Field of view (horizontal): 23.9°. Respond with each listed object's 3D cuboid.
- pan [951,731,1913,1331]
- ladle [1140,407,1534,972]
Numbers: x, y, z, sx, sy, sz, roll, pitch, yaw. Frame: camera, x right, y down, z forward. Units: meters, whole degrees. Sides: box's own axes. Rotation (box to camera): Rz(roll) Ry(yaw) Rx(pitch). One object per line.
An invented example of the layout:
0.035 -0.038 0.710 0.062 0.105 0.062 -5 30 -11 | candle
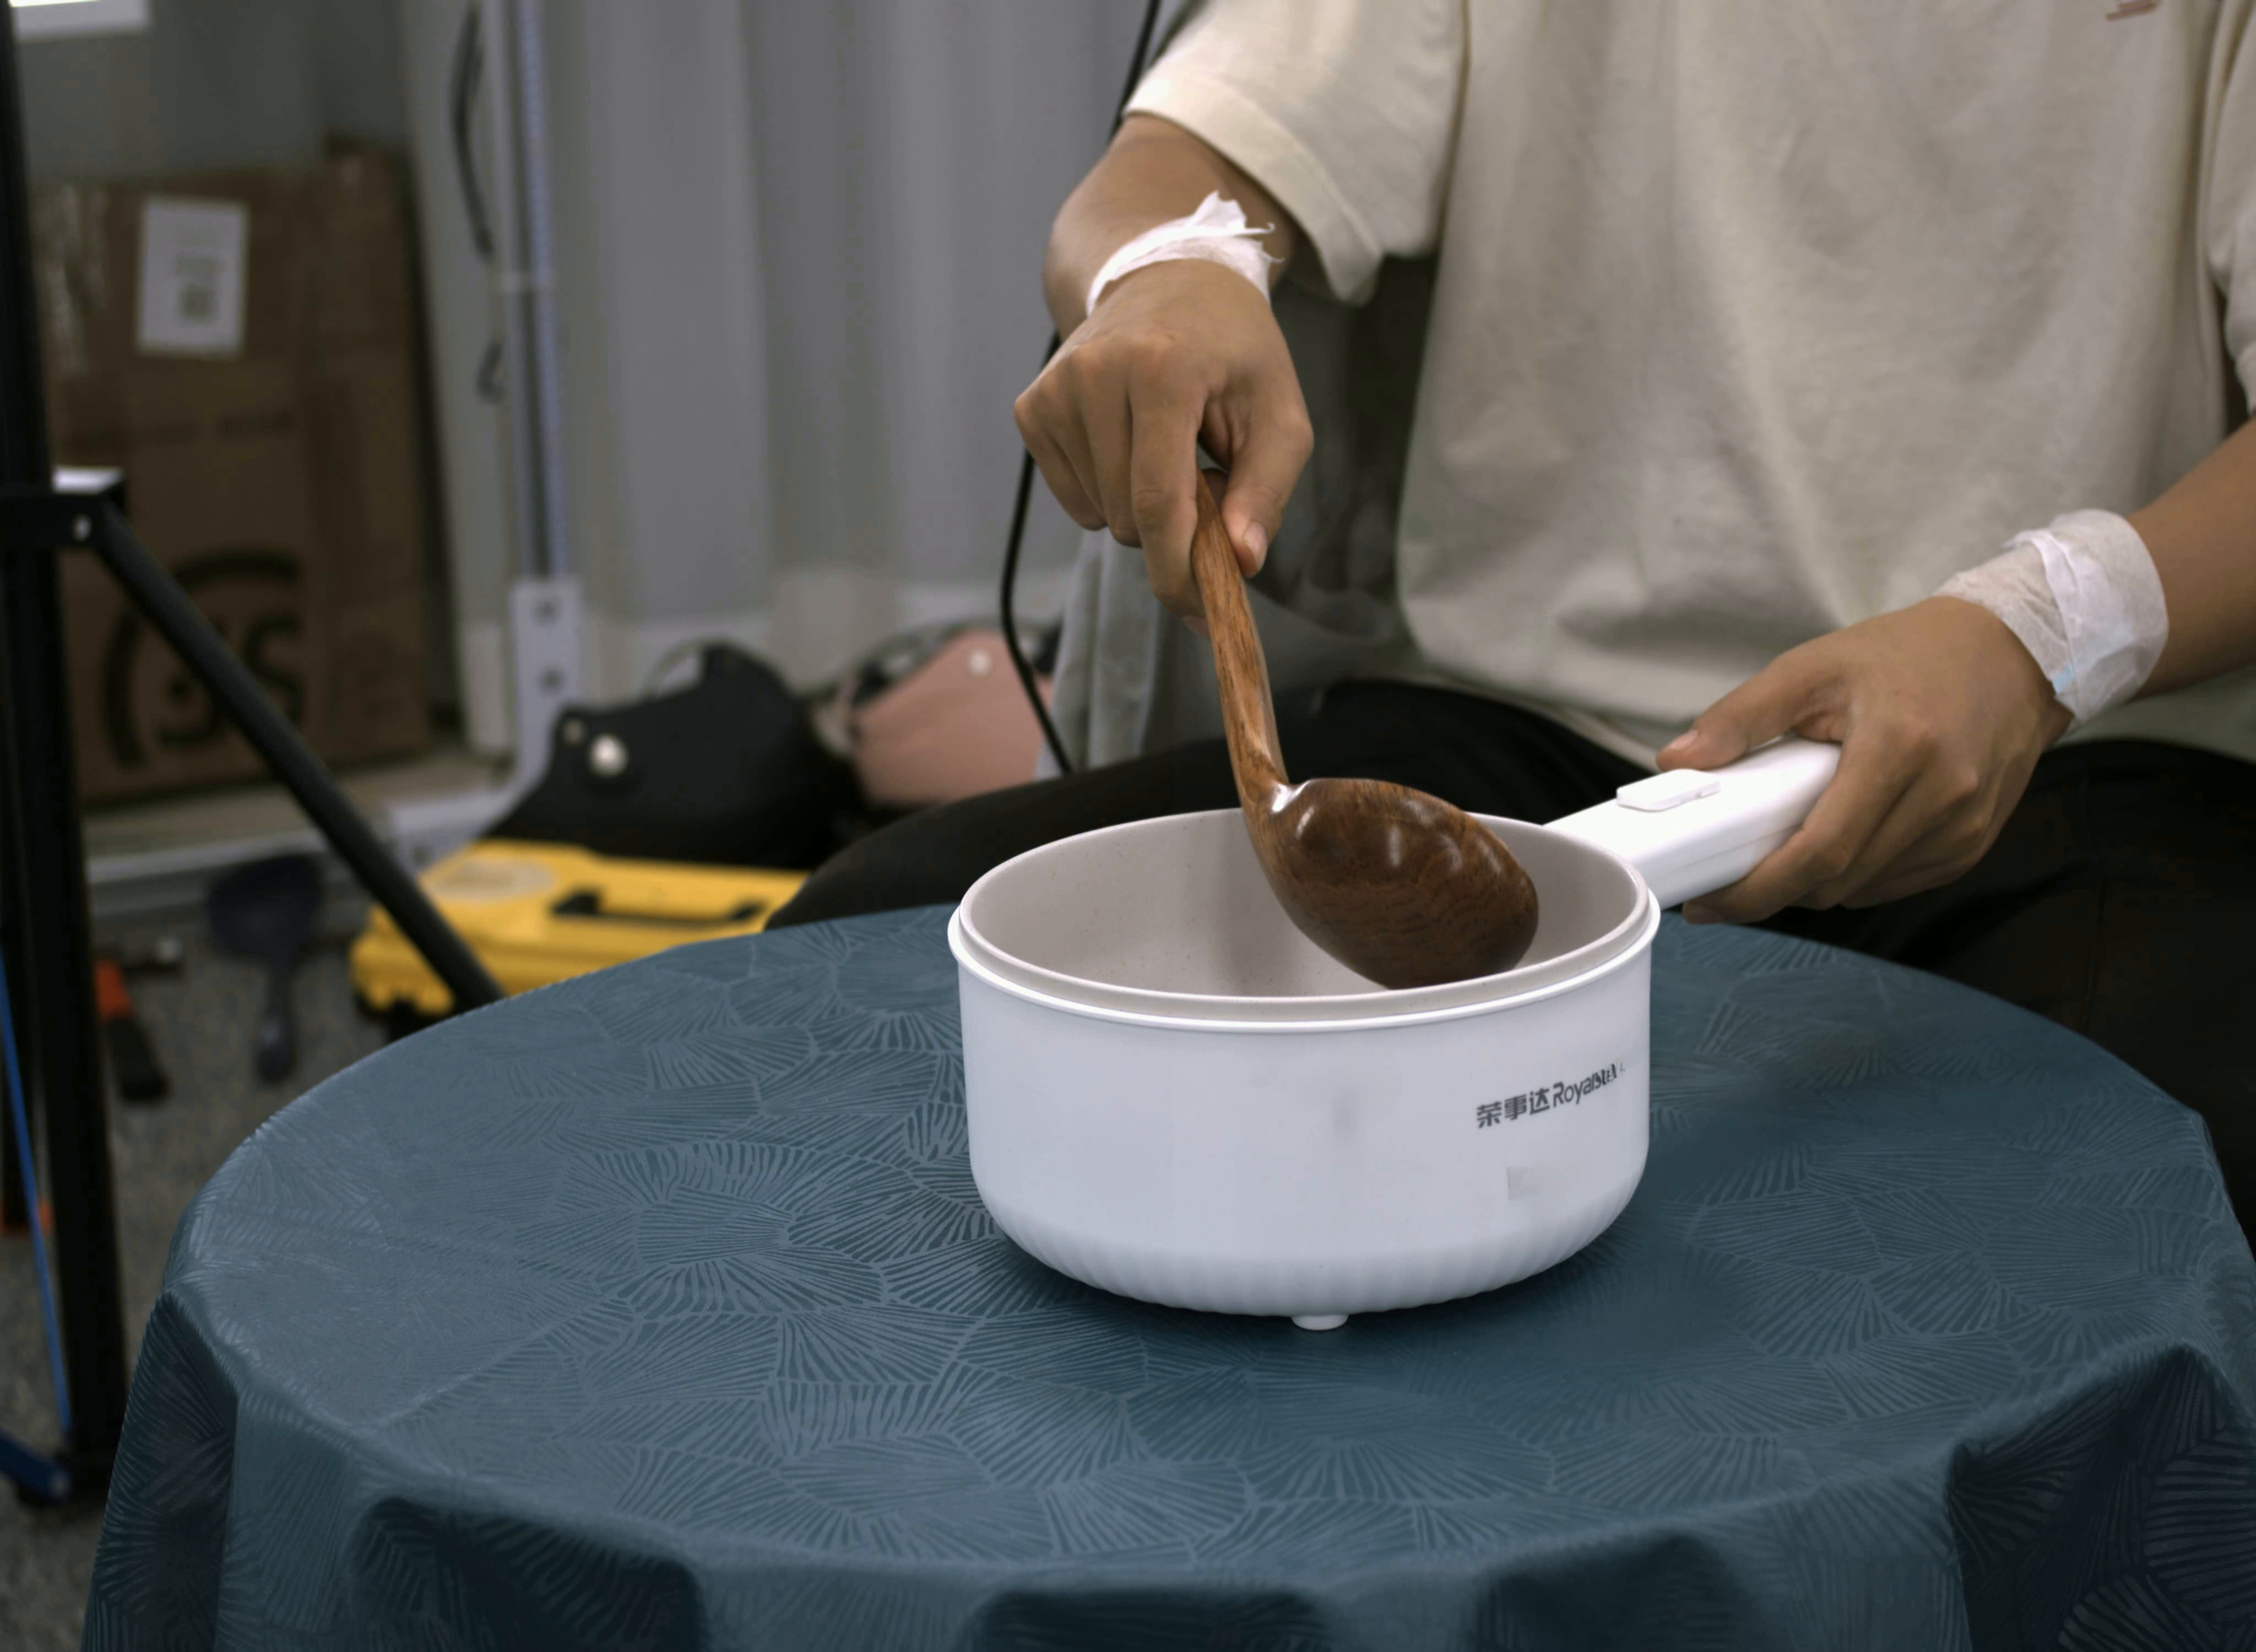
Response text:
0.106 0.053 1.554 0.346 0.102 0.206 -16 19 -42 | pan
0.060 -0.051 1.594 0.076 0.081 0.278 -12 39 0 | ladle
